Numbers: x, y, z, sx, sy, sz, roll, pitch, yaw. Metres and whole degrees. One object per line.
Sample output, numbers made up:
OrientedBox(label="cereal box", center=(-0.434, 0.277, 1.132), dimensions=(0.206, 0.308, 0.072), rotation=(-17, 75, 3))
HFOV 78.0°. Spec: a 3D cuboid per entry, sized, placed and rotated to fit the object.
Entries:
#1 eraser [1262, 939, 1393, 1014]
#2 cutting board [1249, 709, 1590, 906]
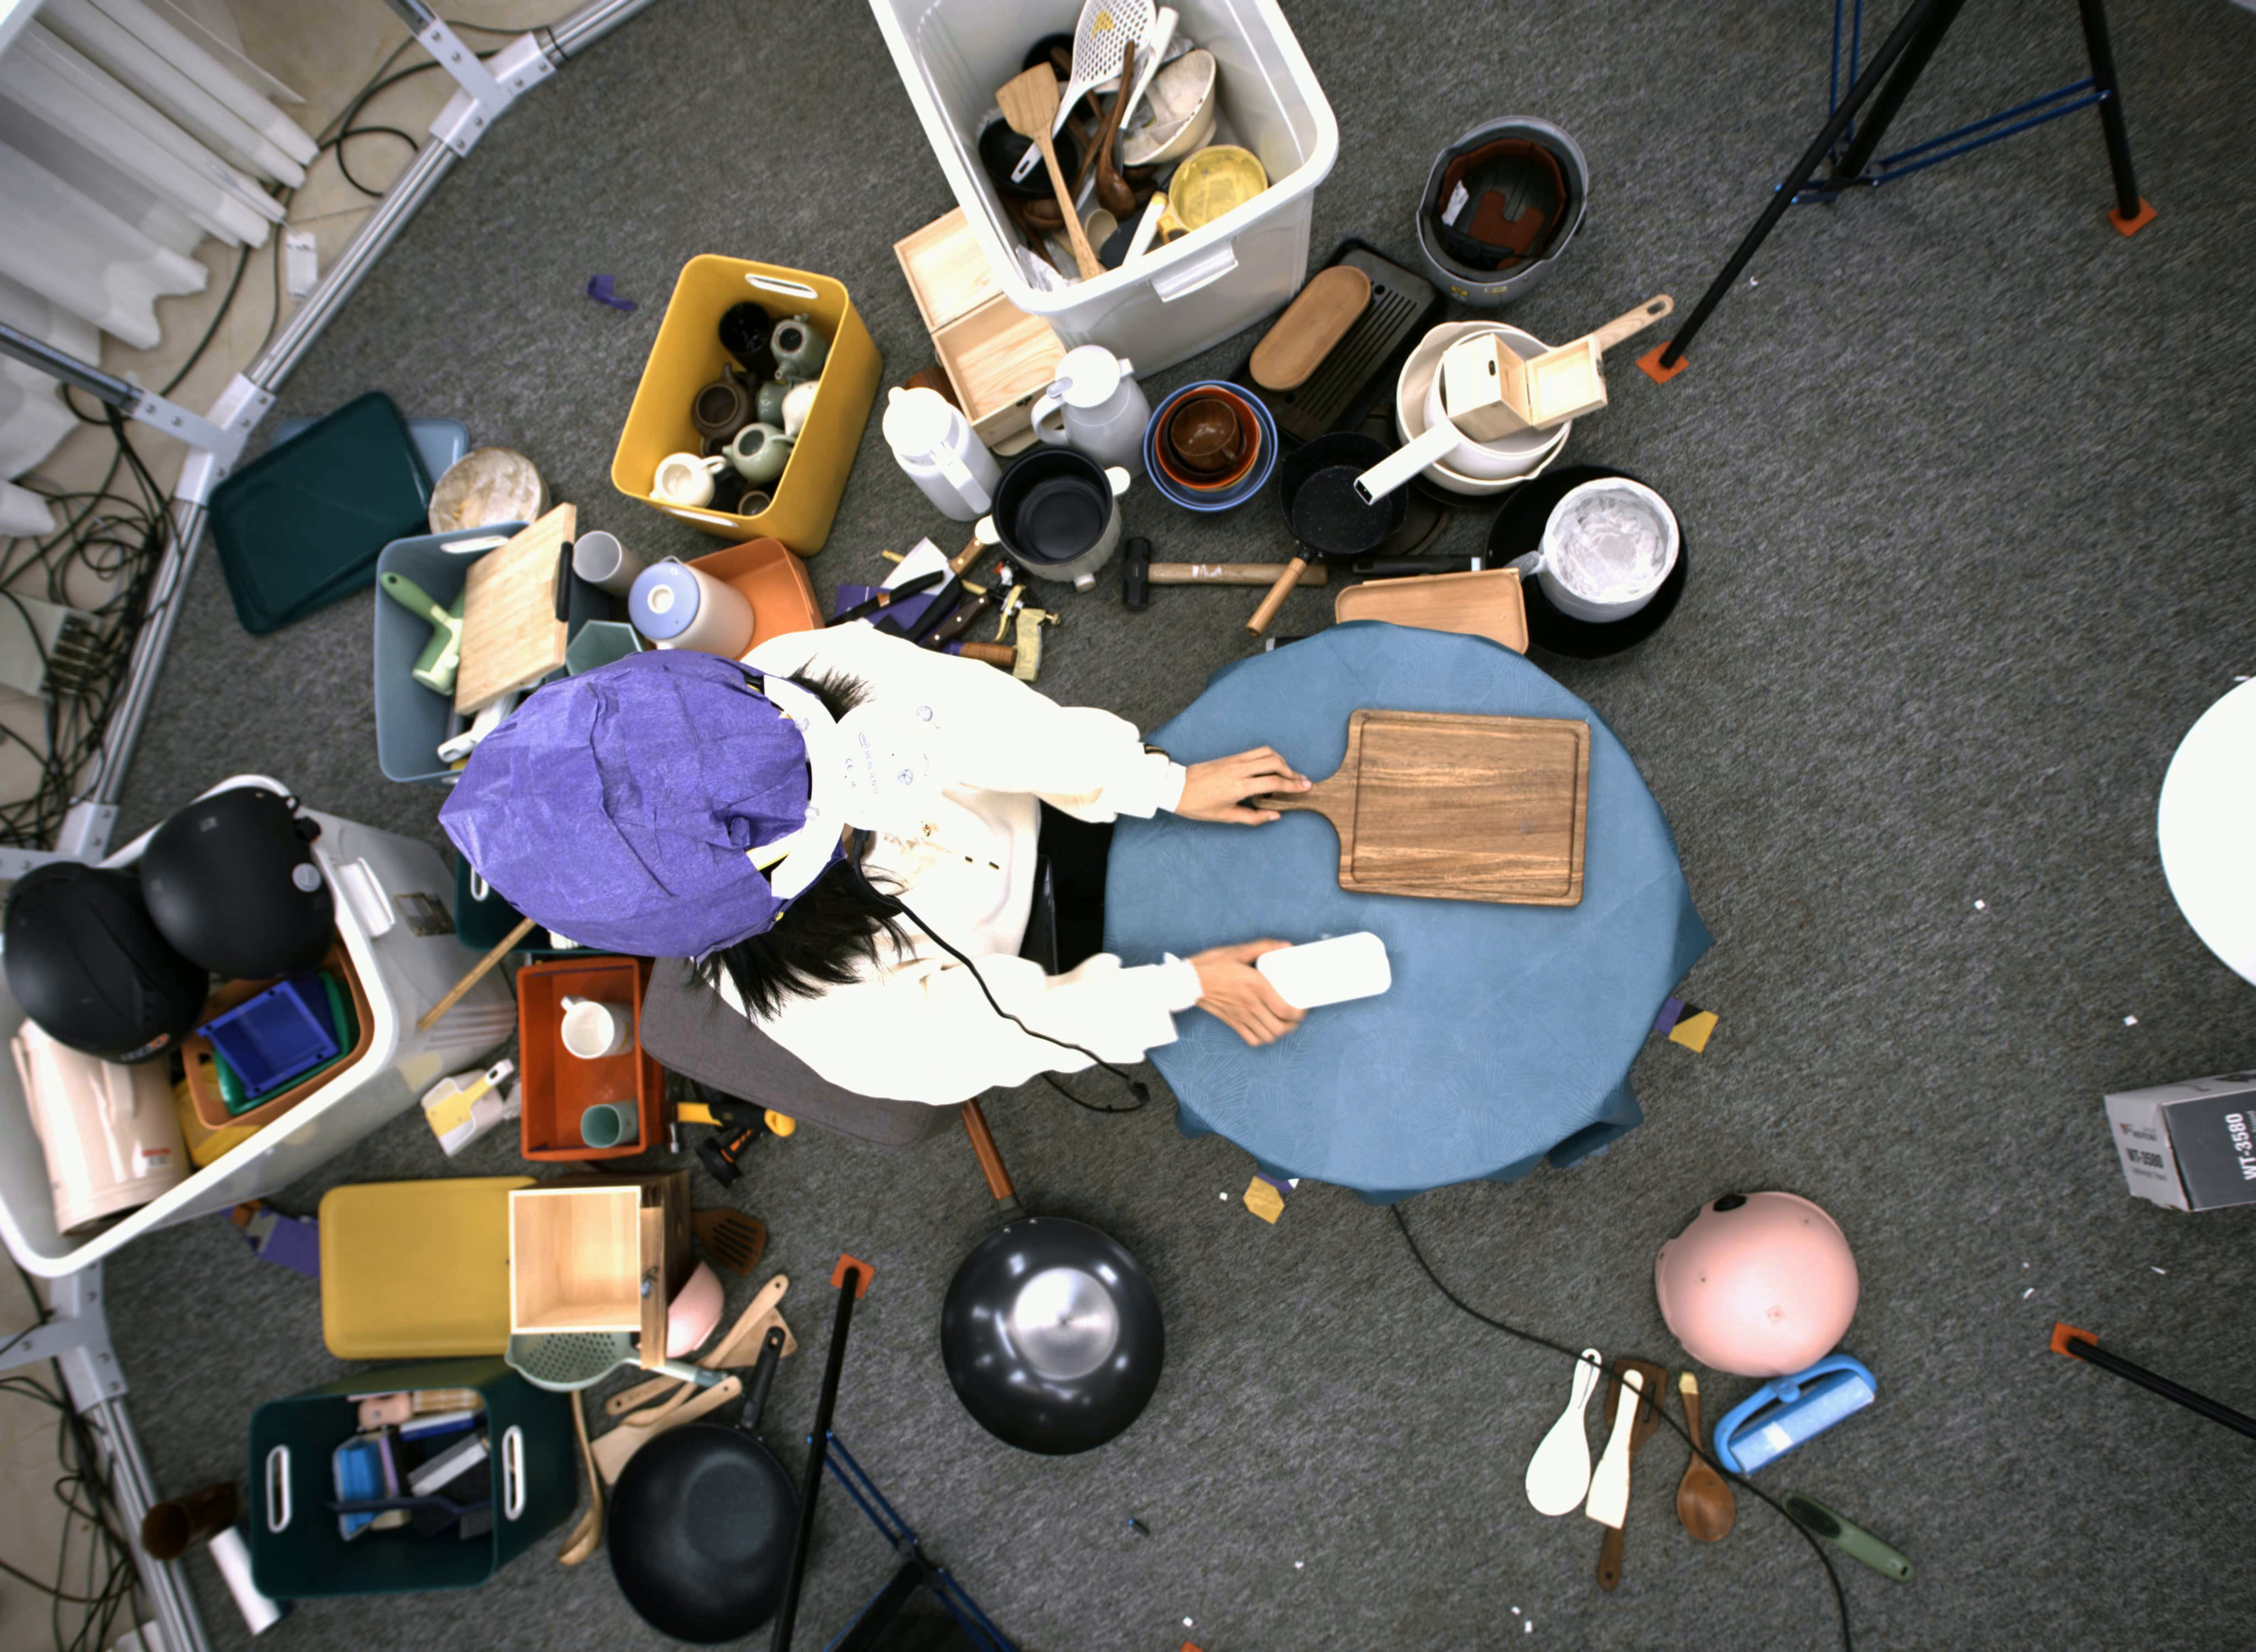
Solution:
OrientedBox(label="eraser", center=(0.208, 0.155, 1.446), dimensions=(0.132, 0.034, 0.063), rotation=(-11, 85, 9))
OrientedBox(label="cutting board", center=(0.303, -0.025, 1.449), dimensions=(0.353, 0.023, 0.200), rotation=(3, 87, 10))
